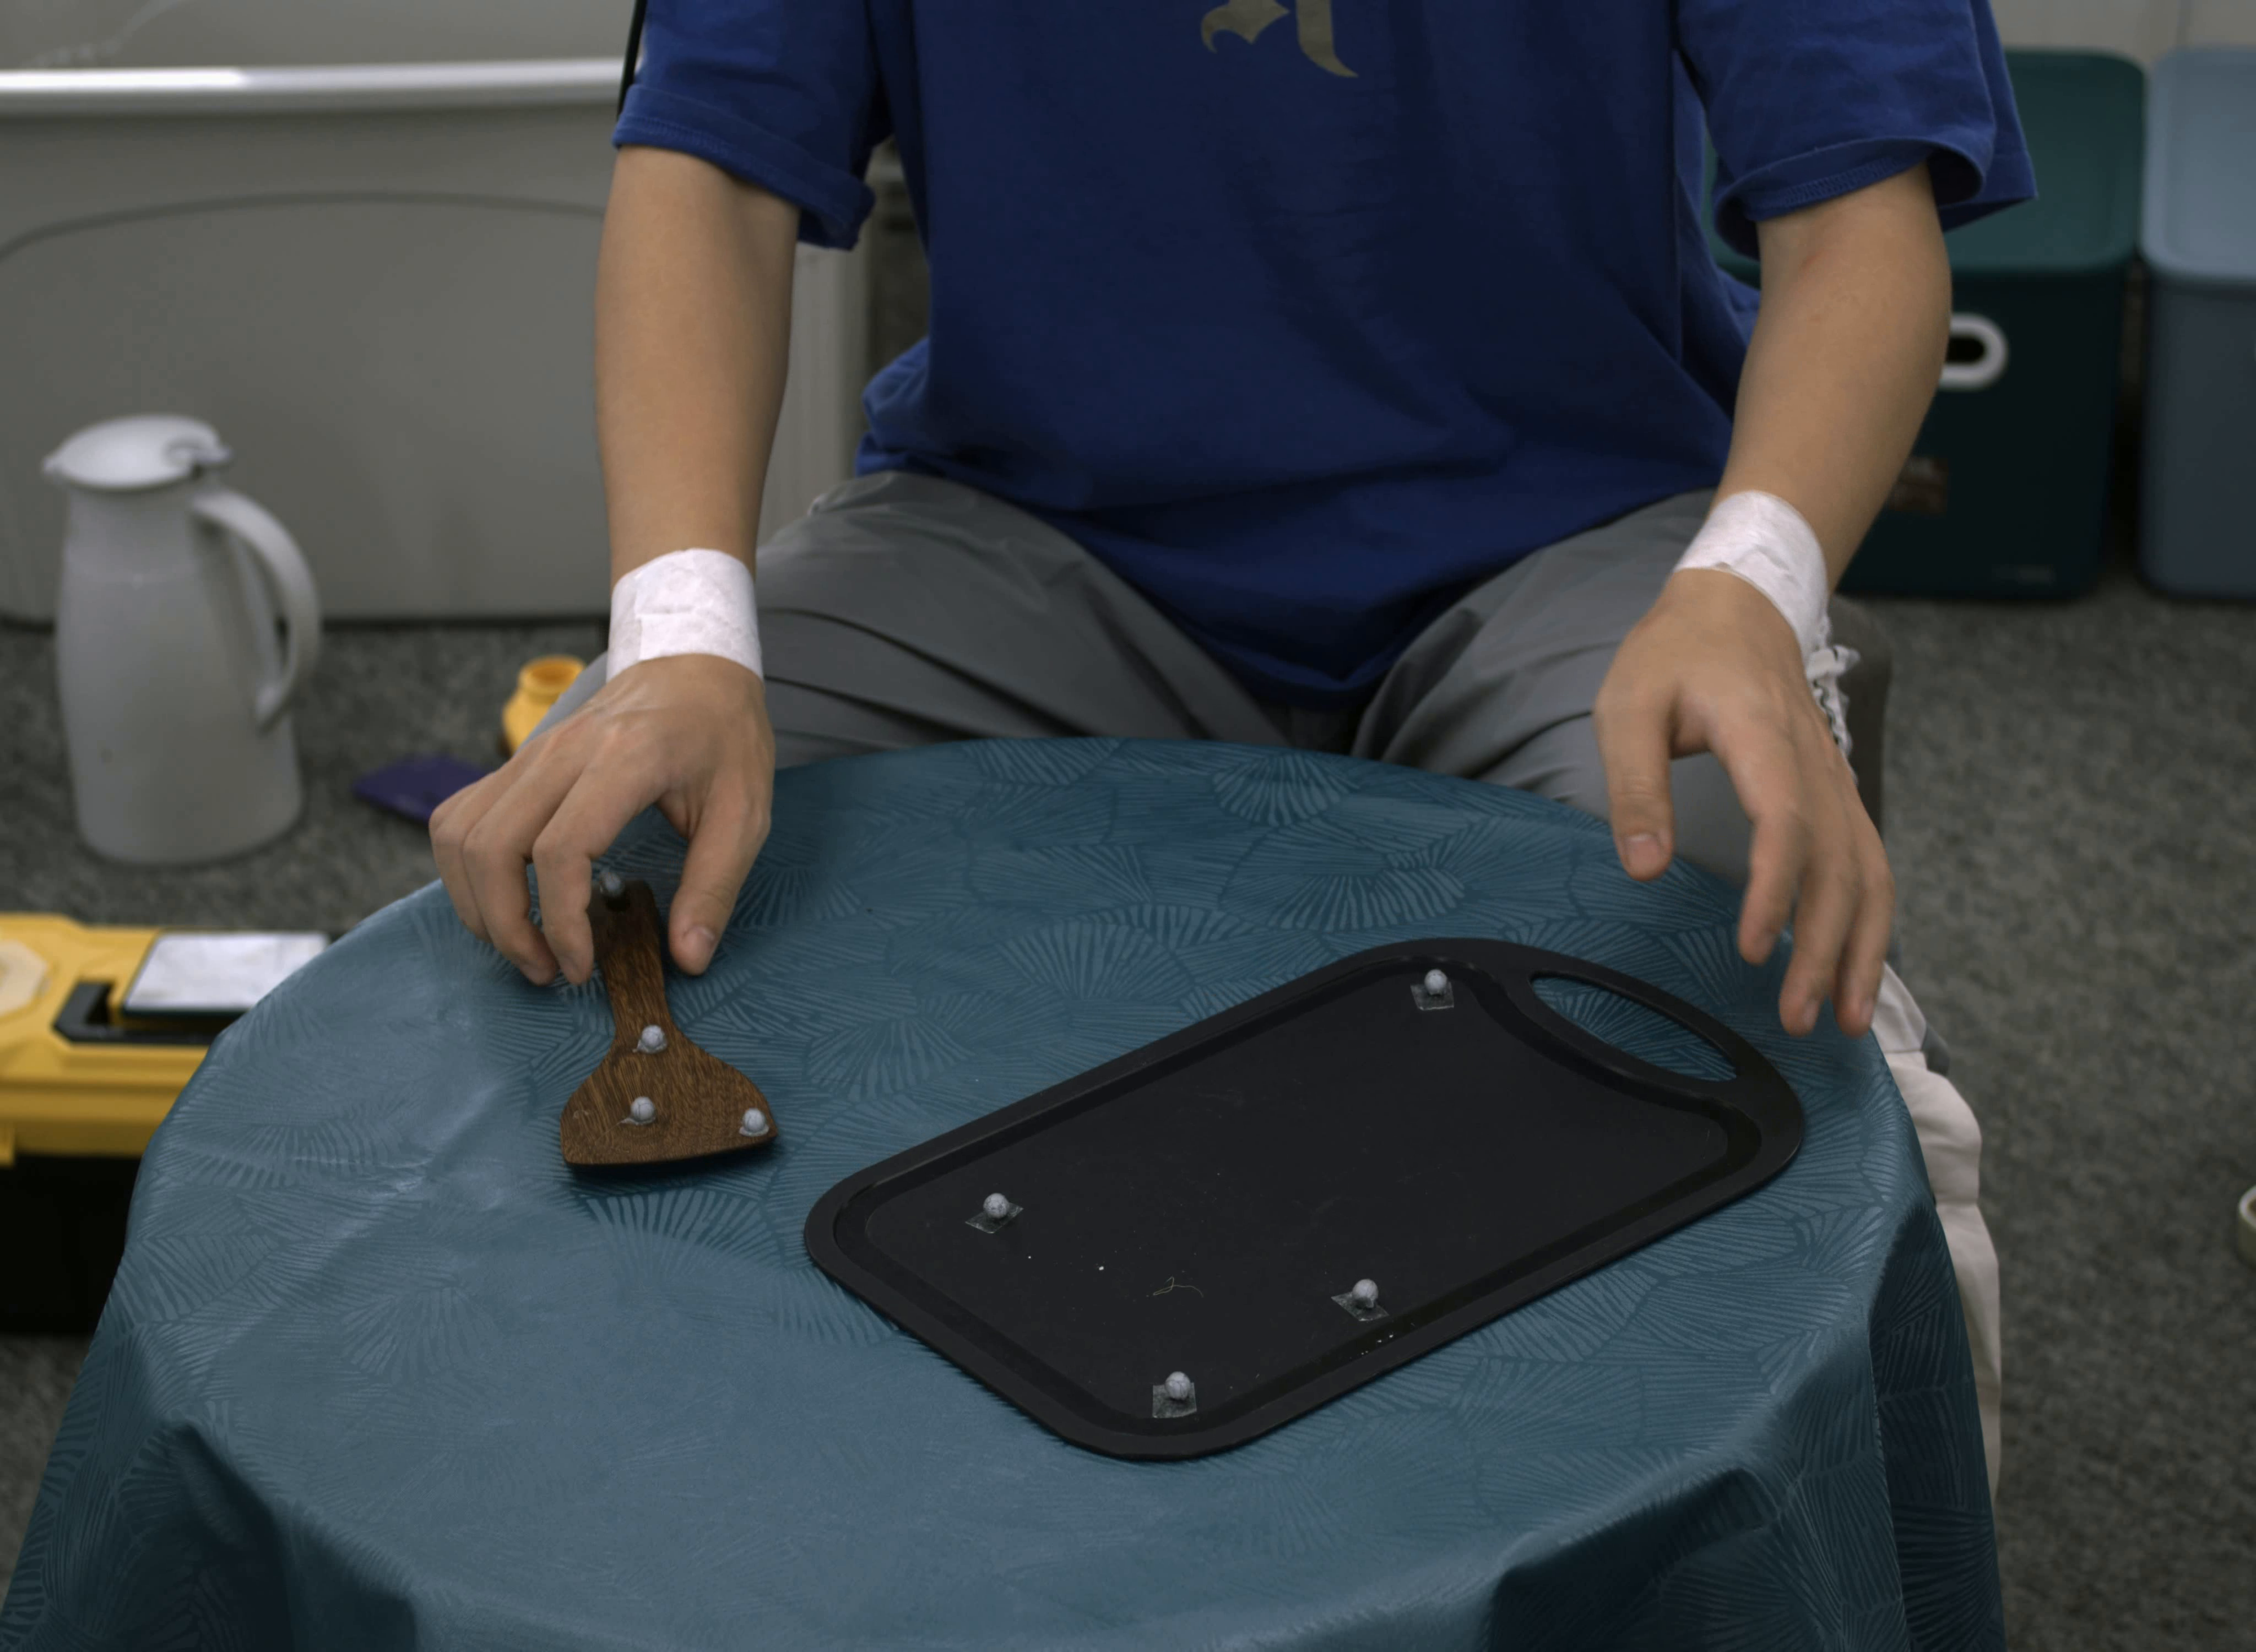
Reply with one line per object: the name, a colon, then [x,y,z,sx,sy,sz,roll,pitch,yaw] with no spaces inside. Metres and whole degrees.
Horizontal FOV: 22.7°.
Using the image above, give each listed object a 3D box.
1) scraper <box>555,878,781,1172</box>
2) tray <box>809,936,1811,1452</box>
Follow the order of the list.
scraper: [-0.170,0.069,1.969,0.076,0.011,0.214,-6,27,-8]
tray: [0.067,0.112,1.865,0.328,0.009,0.211,-22,33,-32]
